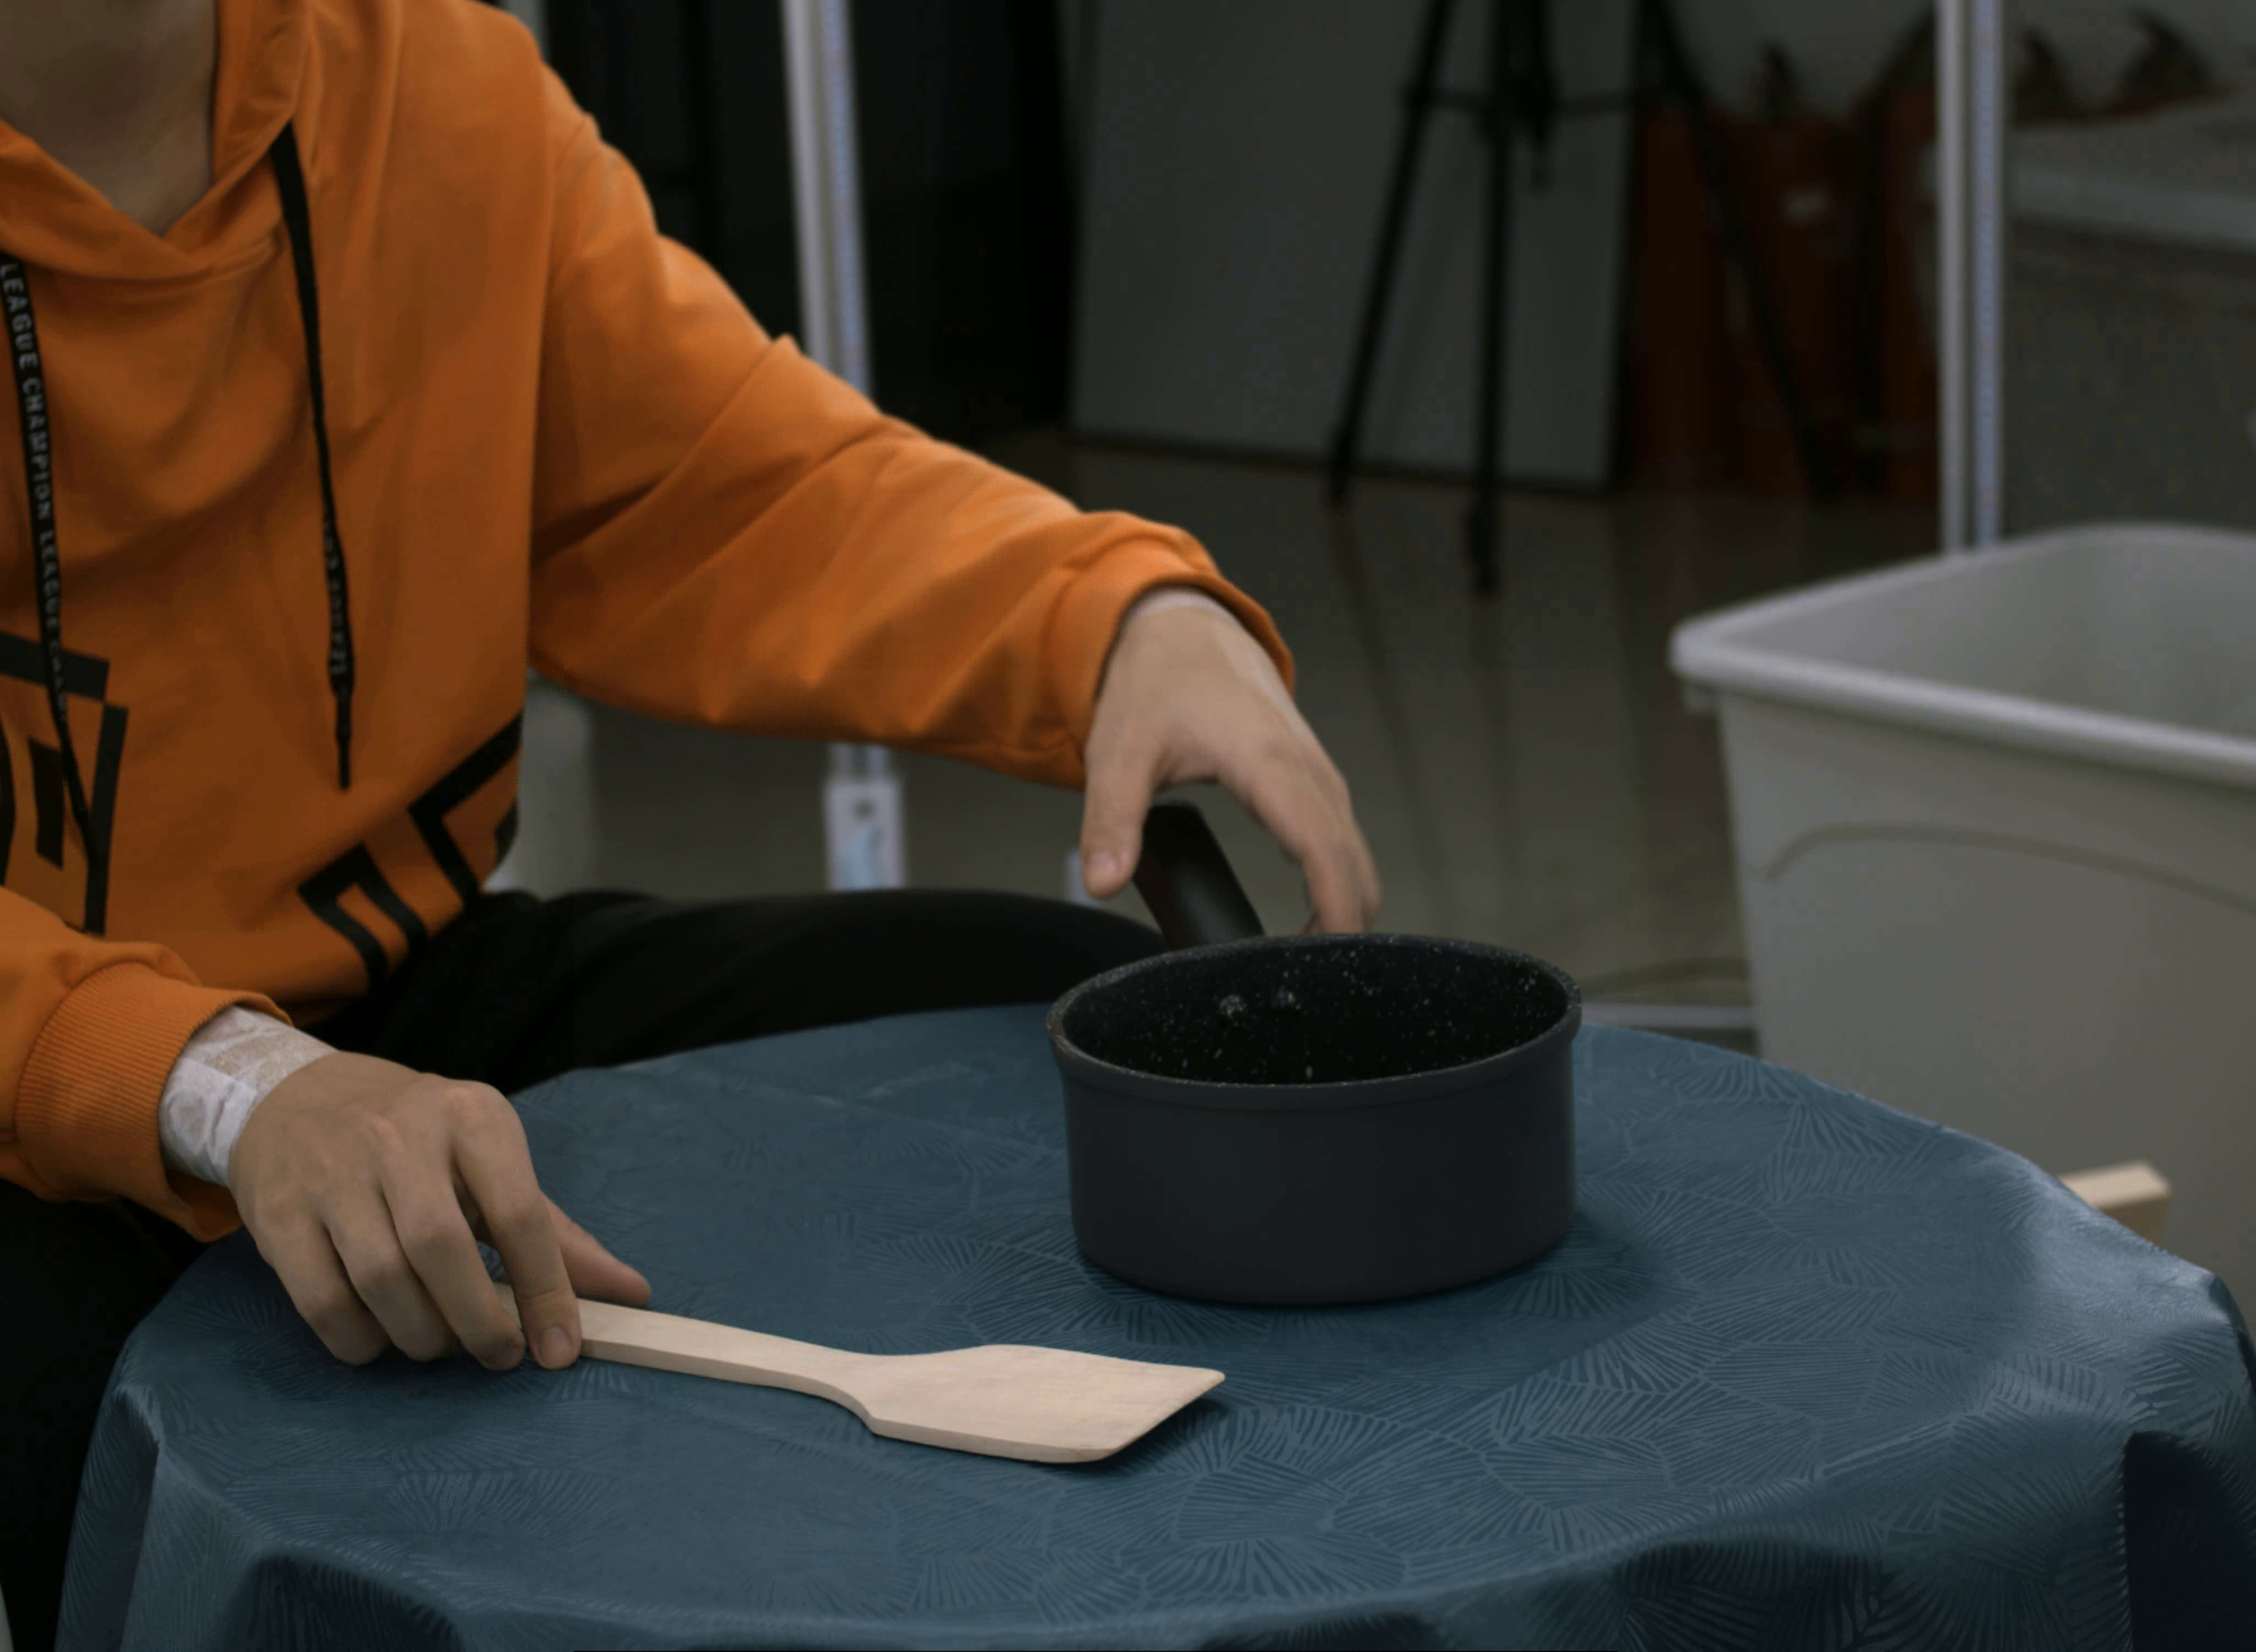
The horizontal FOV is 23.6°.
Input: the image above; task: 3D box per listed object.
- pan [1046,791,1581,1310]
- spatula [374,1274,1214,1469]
[{"bbox_3d":[0.048,0.071,1.785,0.169,0.087,0.330,-5,15,-8],"label":"pan"},{"bbox_3d":[-0.111,0.160,1.625,0.294,0.011,0.071,5,20,34],"label":"spatula"}]
